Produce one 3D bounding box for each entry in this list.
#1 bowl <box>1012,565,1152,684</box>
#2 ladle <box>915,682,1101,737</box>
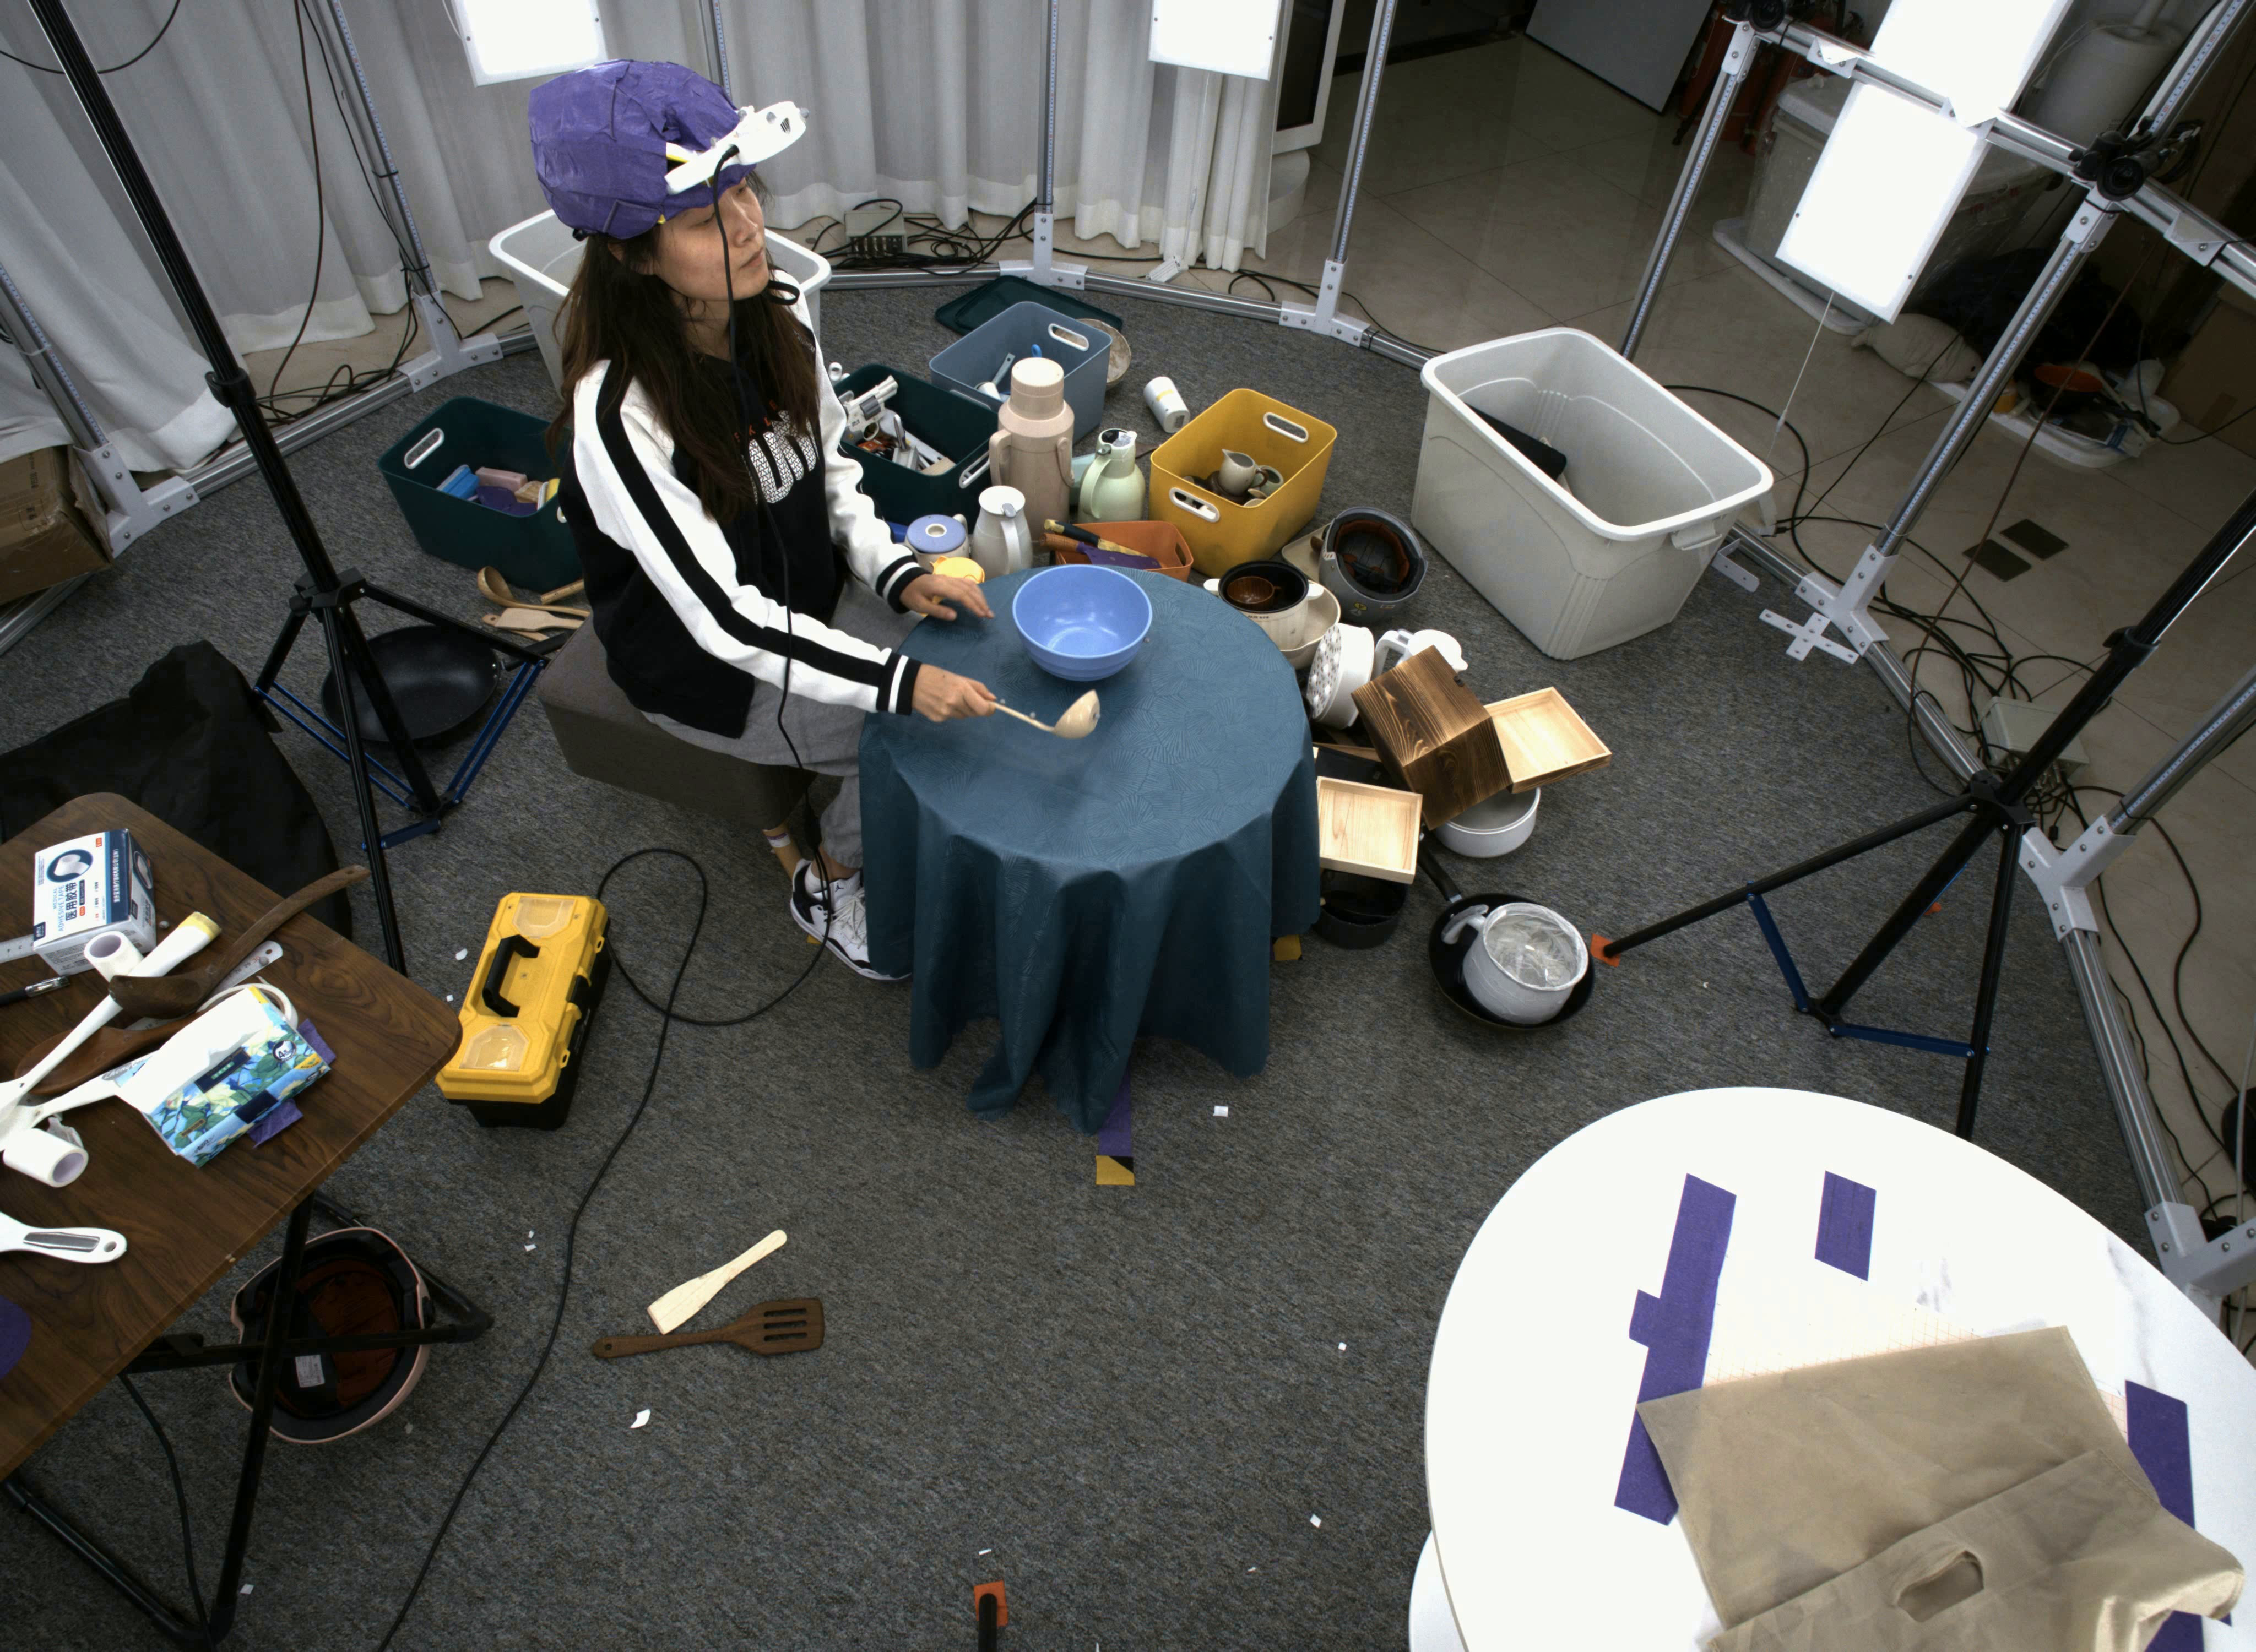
[{"bbox_3d":[-0.066,-0.273,1.846,0.196,0.093,0.201,1,50,-2],"label":"bowl"},{"bbox_3d":[-0.159,-0.183,1.699,0.256,0.072,0.072,19,9,14],"label":"ladle"}]
